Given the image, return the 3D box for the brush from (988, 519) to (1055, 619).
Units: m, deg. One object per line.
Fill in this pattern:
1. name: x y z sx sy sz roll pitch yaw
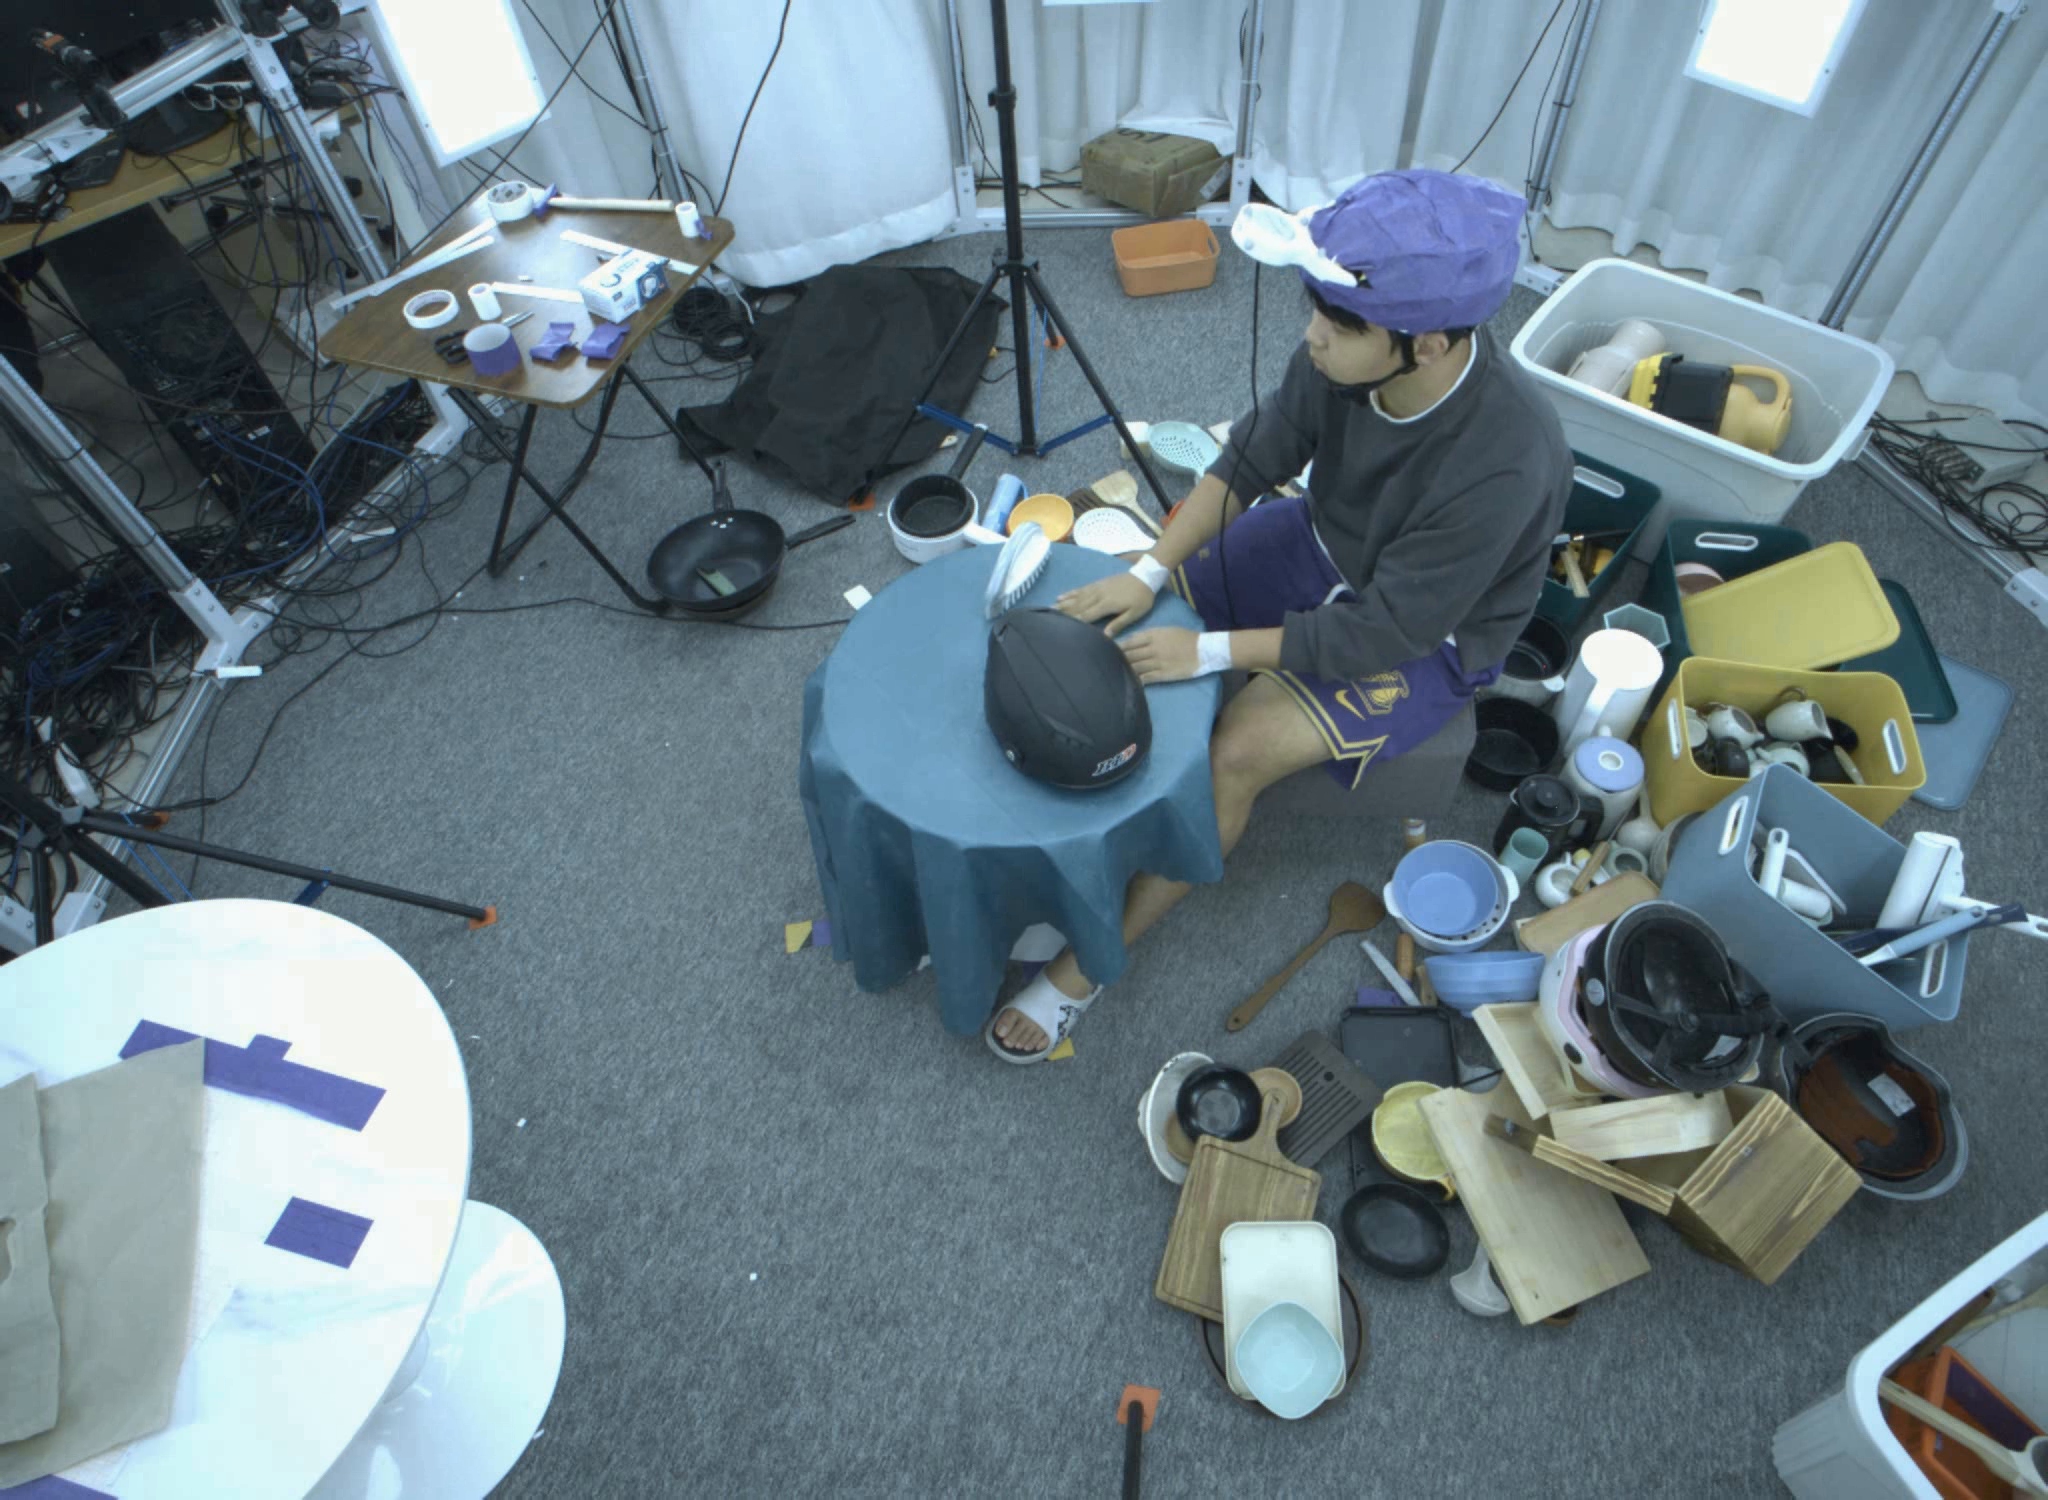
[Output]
1. brush: -0.015 -0.295 1.944 0.060 0.095 0.176 20 60 21

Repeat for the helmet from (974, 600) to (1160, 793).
1. helmet: 0.055 -0.085 1.751 0.248 0.174 0.271 -28 54 -15
